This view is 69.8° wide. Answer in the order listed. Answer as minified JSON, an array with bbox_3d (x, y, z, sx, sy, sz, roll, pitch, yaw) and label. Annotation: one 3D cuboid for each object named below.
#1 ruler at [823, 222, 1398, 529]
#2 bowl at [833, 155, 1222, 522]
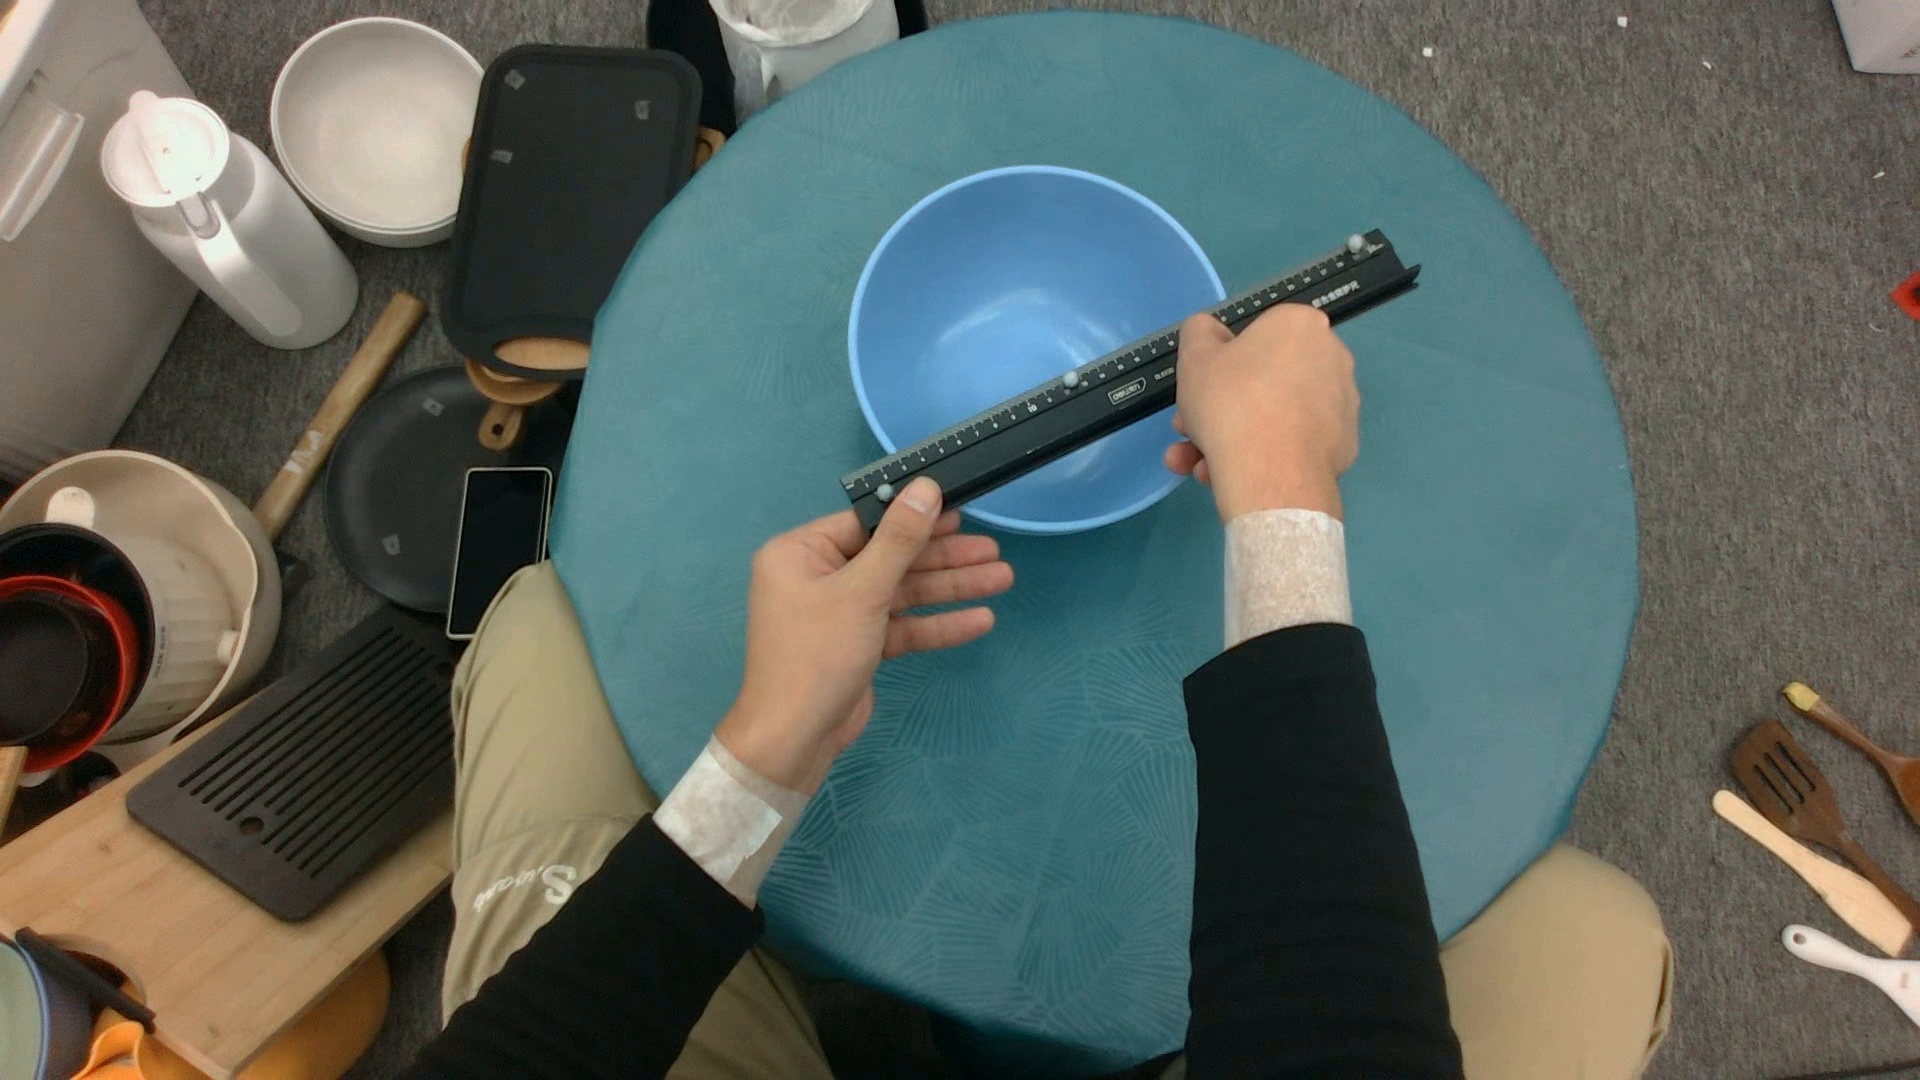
[{"bbox_3d":[0.080,-0.088,0.678,0.313,0.017,0.039,-25,76,-12],"label":"ruler"},{"bbox_3d":[0.031,-0.093,0.730,0.196,0.095,0.197,1,74,-5],"label":"bowl"}]
